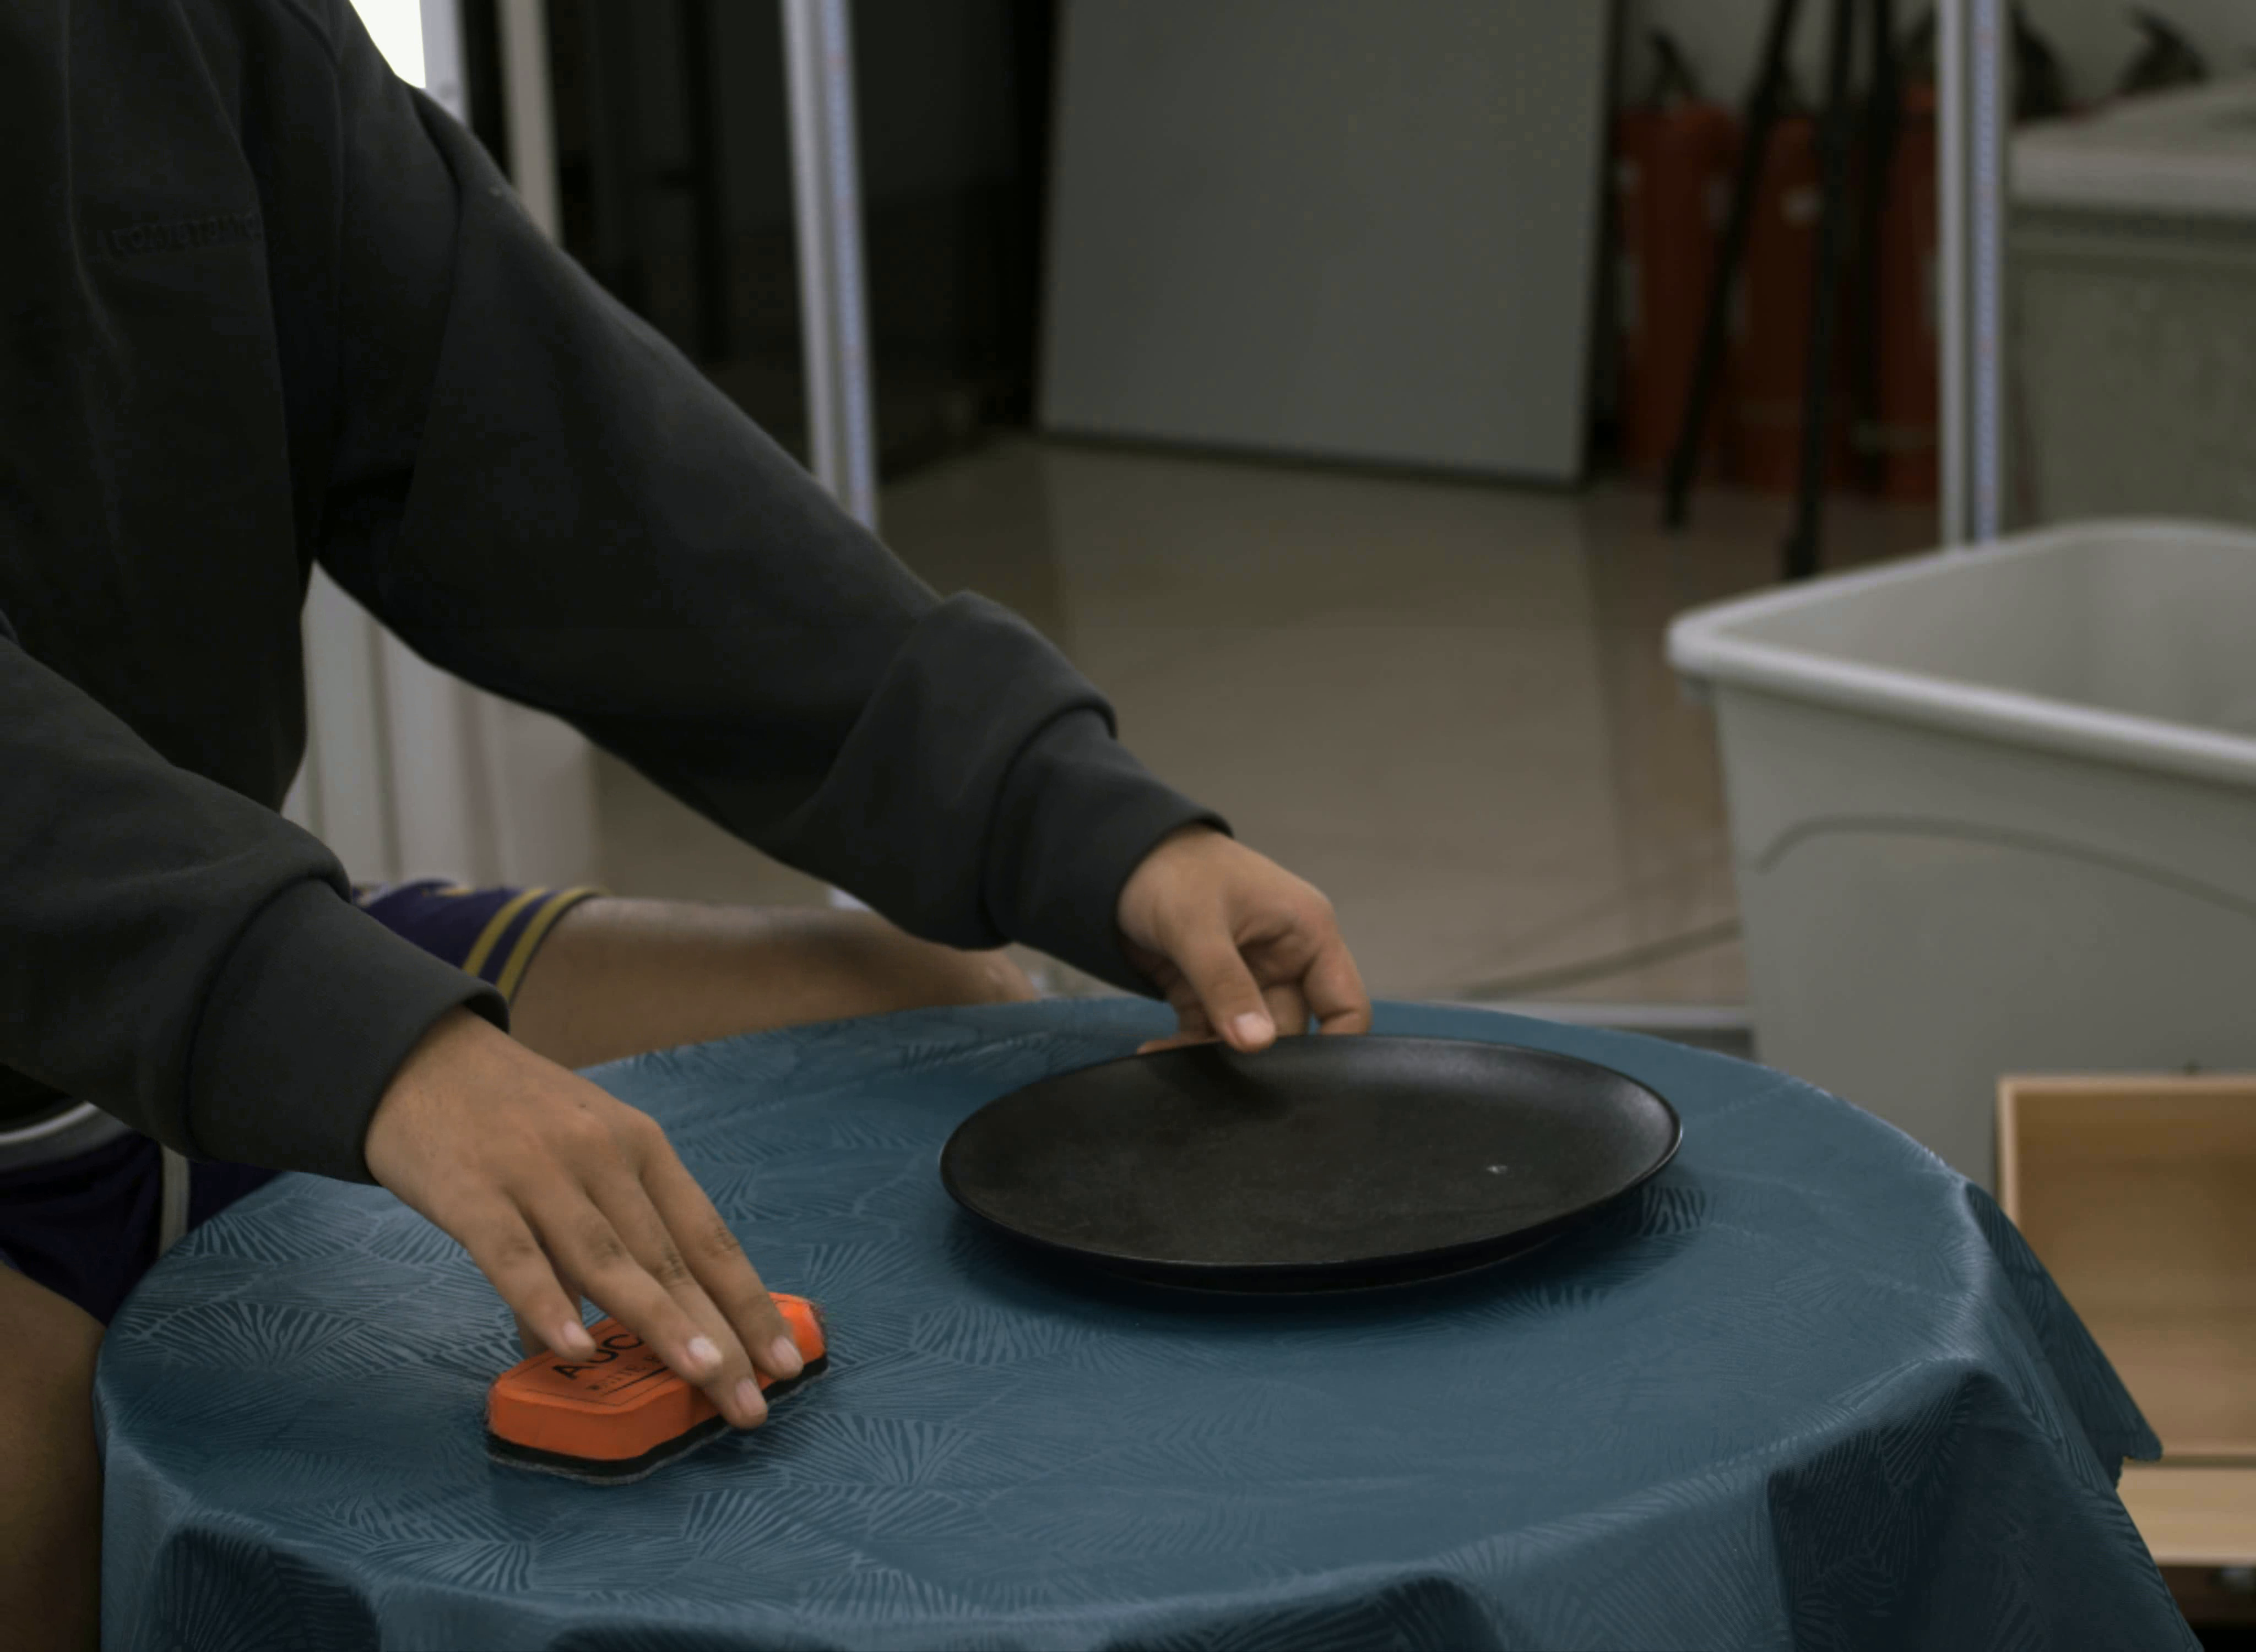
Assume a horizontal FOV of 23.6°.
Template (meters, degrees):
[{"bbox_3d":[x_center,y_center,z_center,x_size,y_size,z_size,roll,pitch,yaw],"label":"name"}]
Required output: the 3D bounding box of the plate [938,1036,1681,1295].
[{"bbox_3d":[0.059,0.112,1.741,0.241,0.024,0.245,-4,14,0],"label":"plate"}]

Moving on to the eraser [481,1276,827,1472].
[{"bbox_3d":[-0.138,0.160,1.586,0.059,0.023,0.106,6,15,32],"label":"eraser"}]
